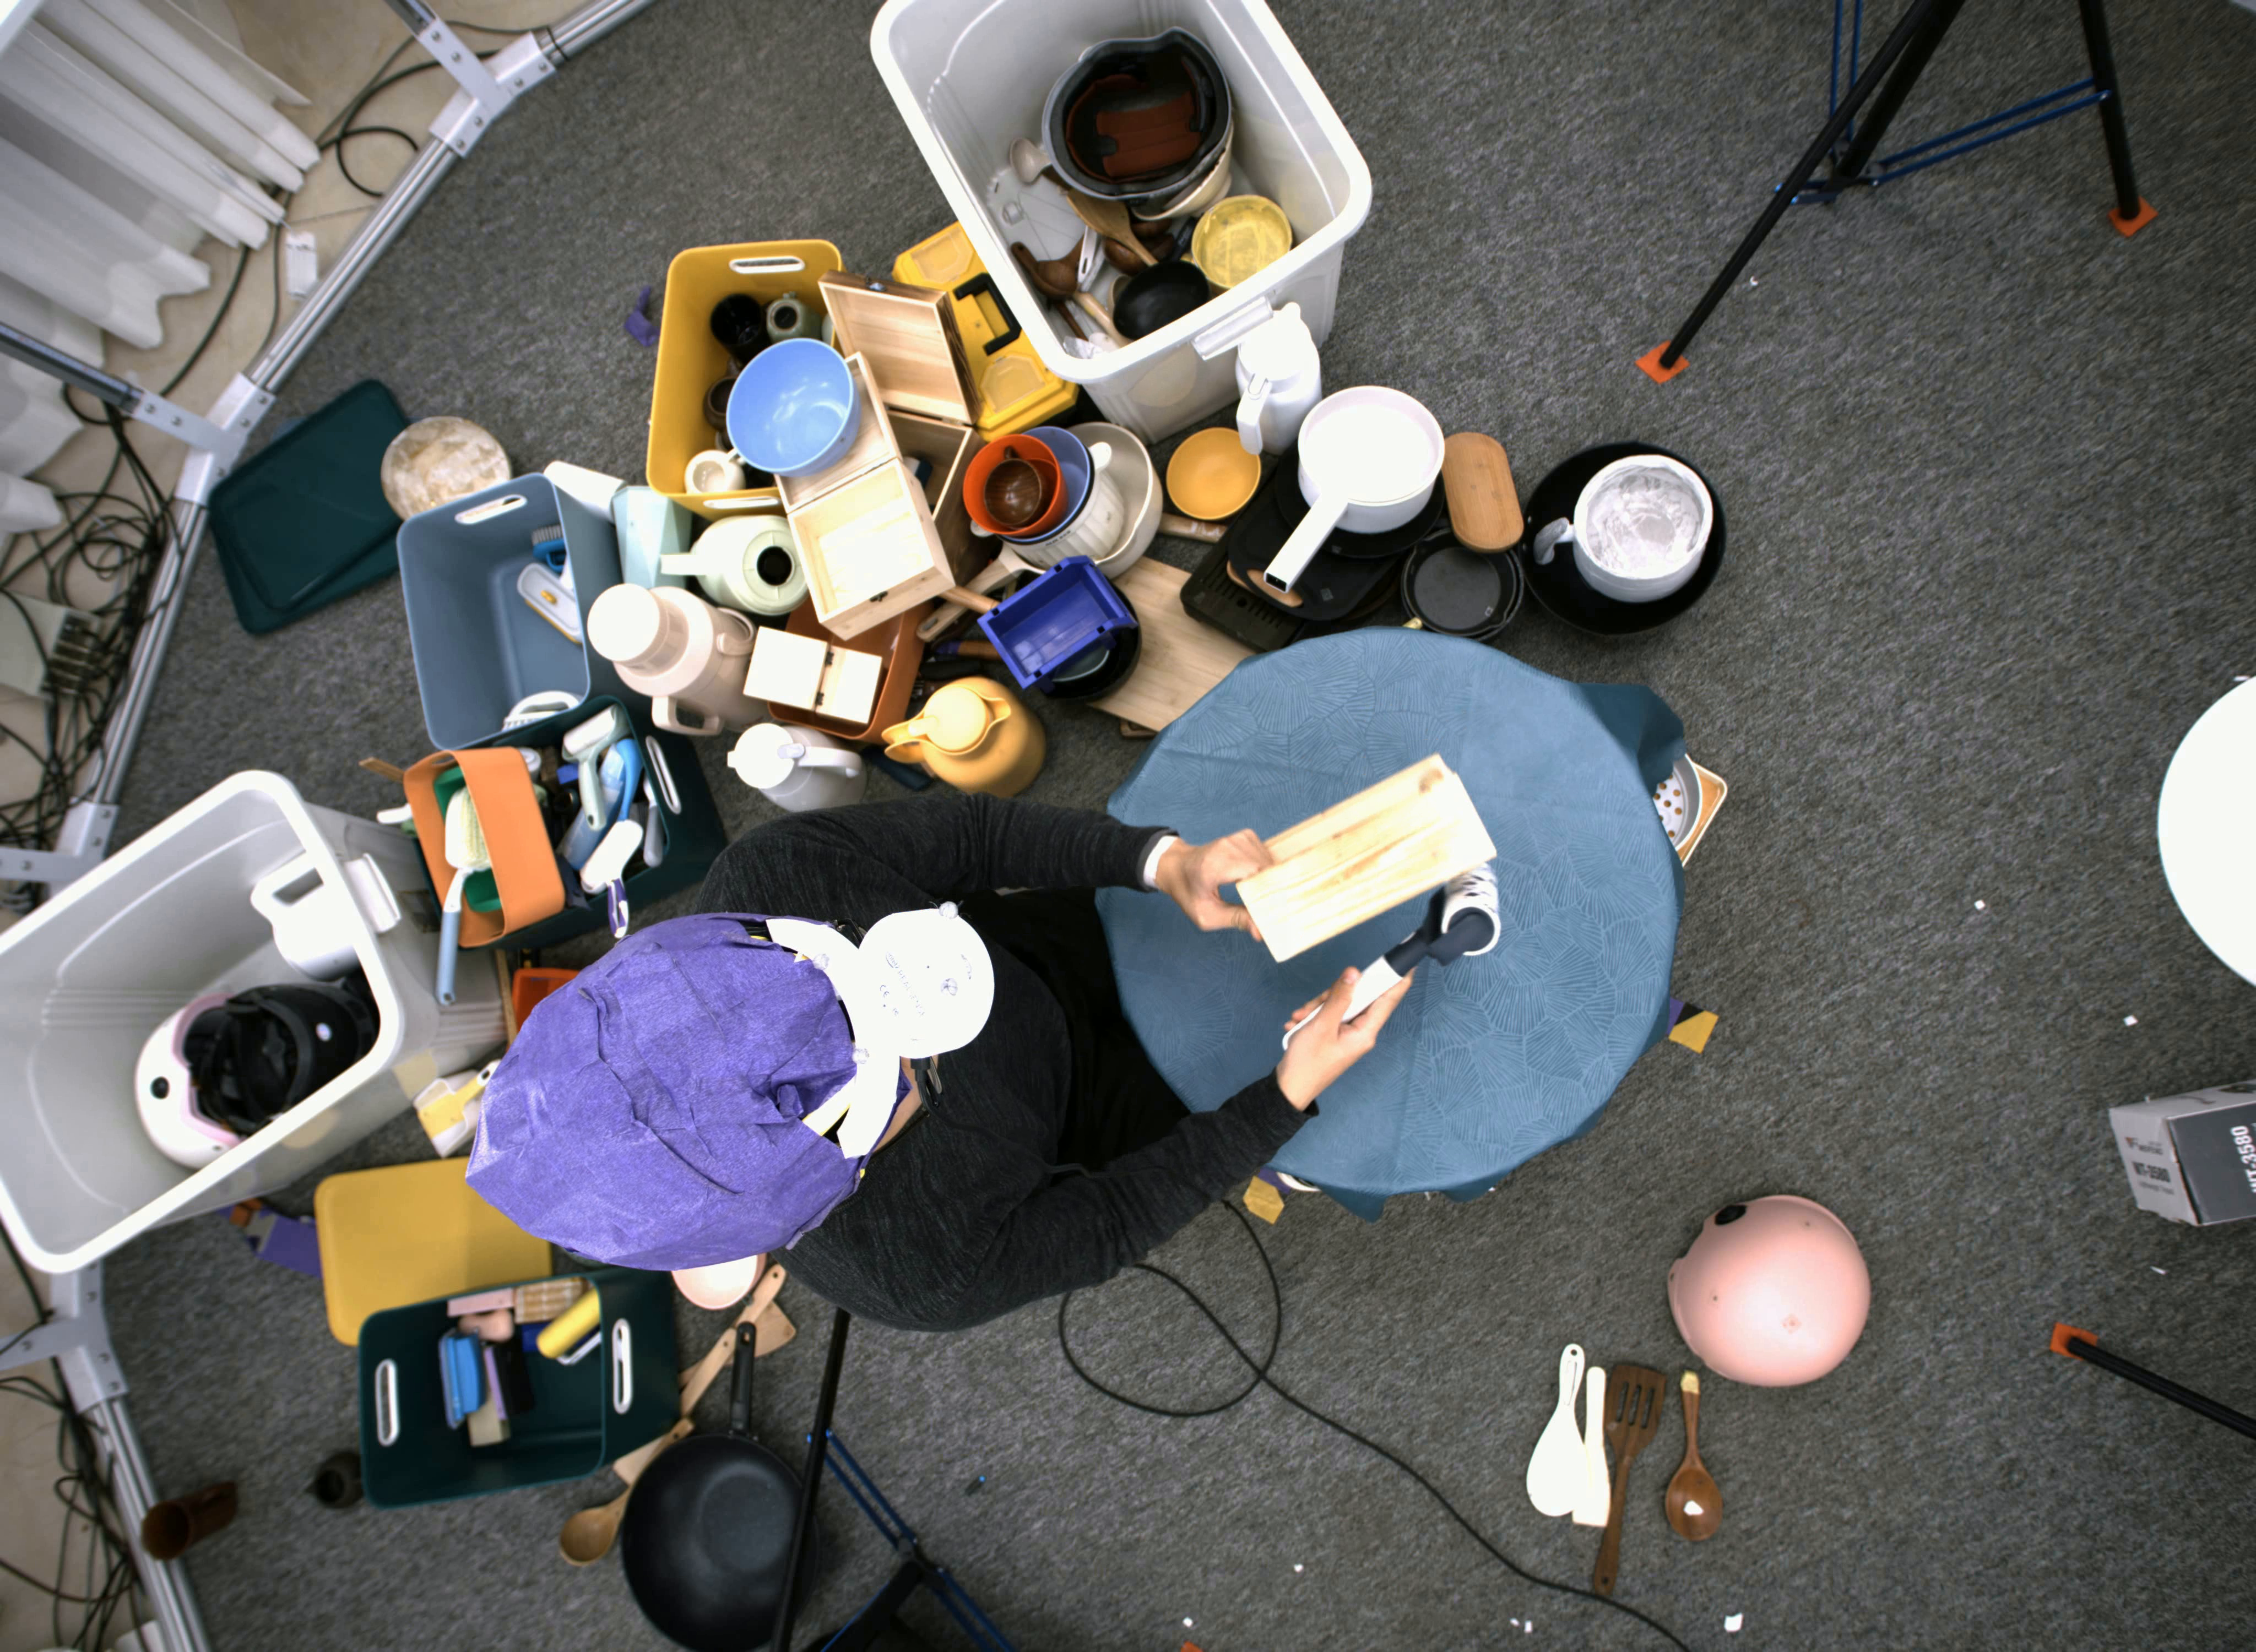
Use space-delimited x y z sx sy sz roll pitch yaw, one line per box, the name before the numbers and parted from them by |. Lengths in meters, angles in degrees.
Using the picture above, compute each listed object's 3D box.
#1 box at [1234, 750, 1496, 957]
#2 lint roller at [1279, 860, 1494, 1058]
box | 0.206 0.021 1.227 0.213 0.106 0.081 -28 100 10
lint roller | 0.240 0.137 1.286 0.050 0.173 0.251 44 111 0
